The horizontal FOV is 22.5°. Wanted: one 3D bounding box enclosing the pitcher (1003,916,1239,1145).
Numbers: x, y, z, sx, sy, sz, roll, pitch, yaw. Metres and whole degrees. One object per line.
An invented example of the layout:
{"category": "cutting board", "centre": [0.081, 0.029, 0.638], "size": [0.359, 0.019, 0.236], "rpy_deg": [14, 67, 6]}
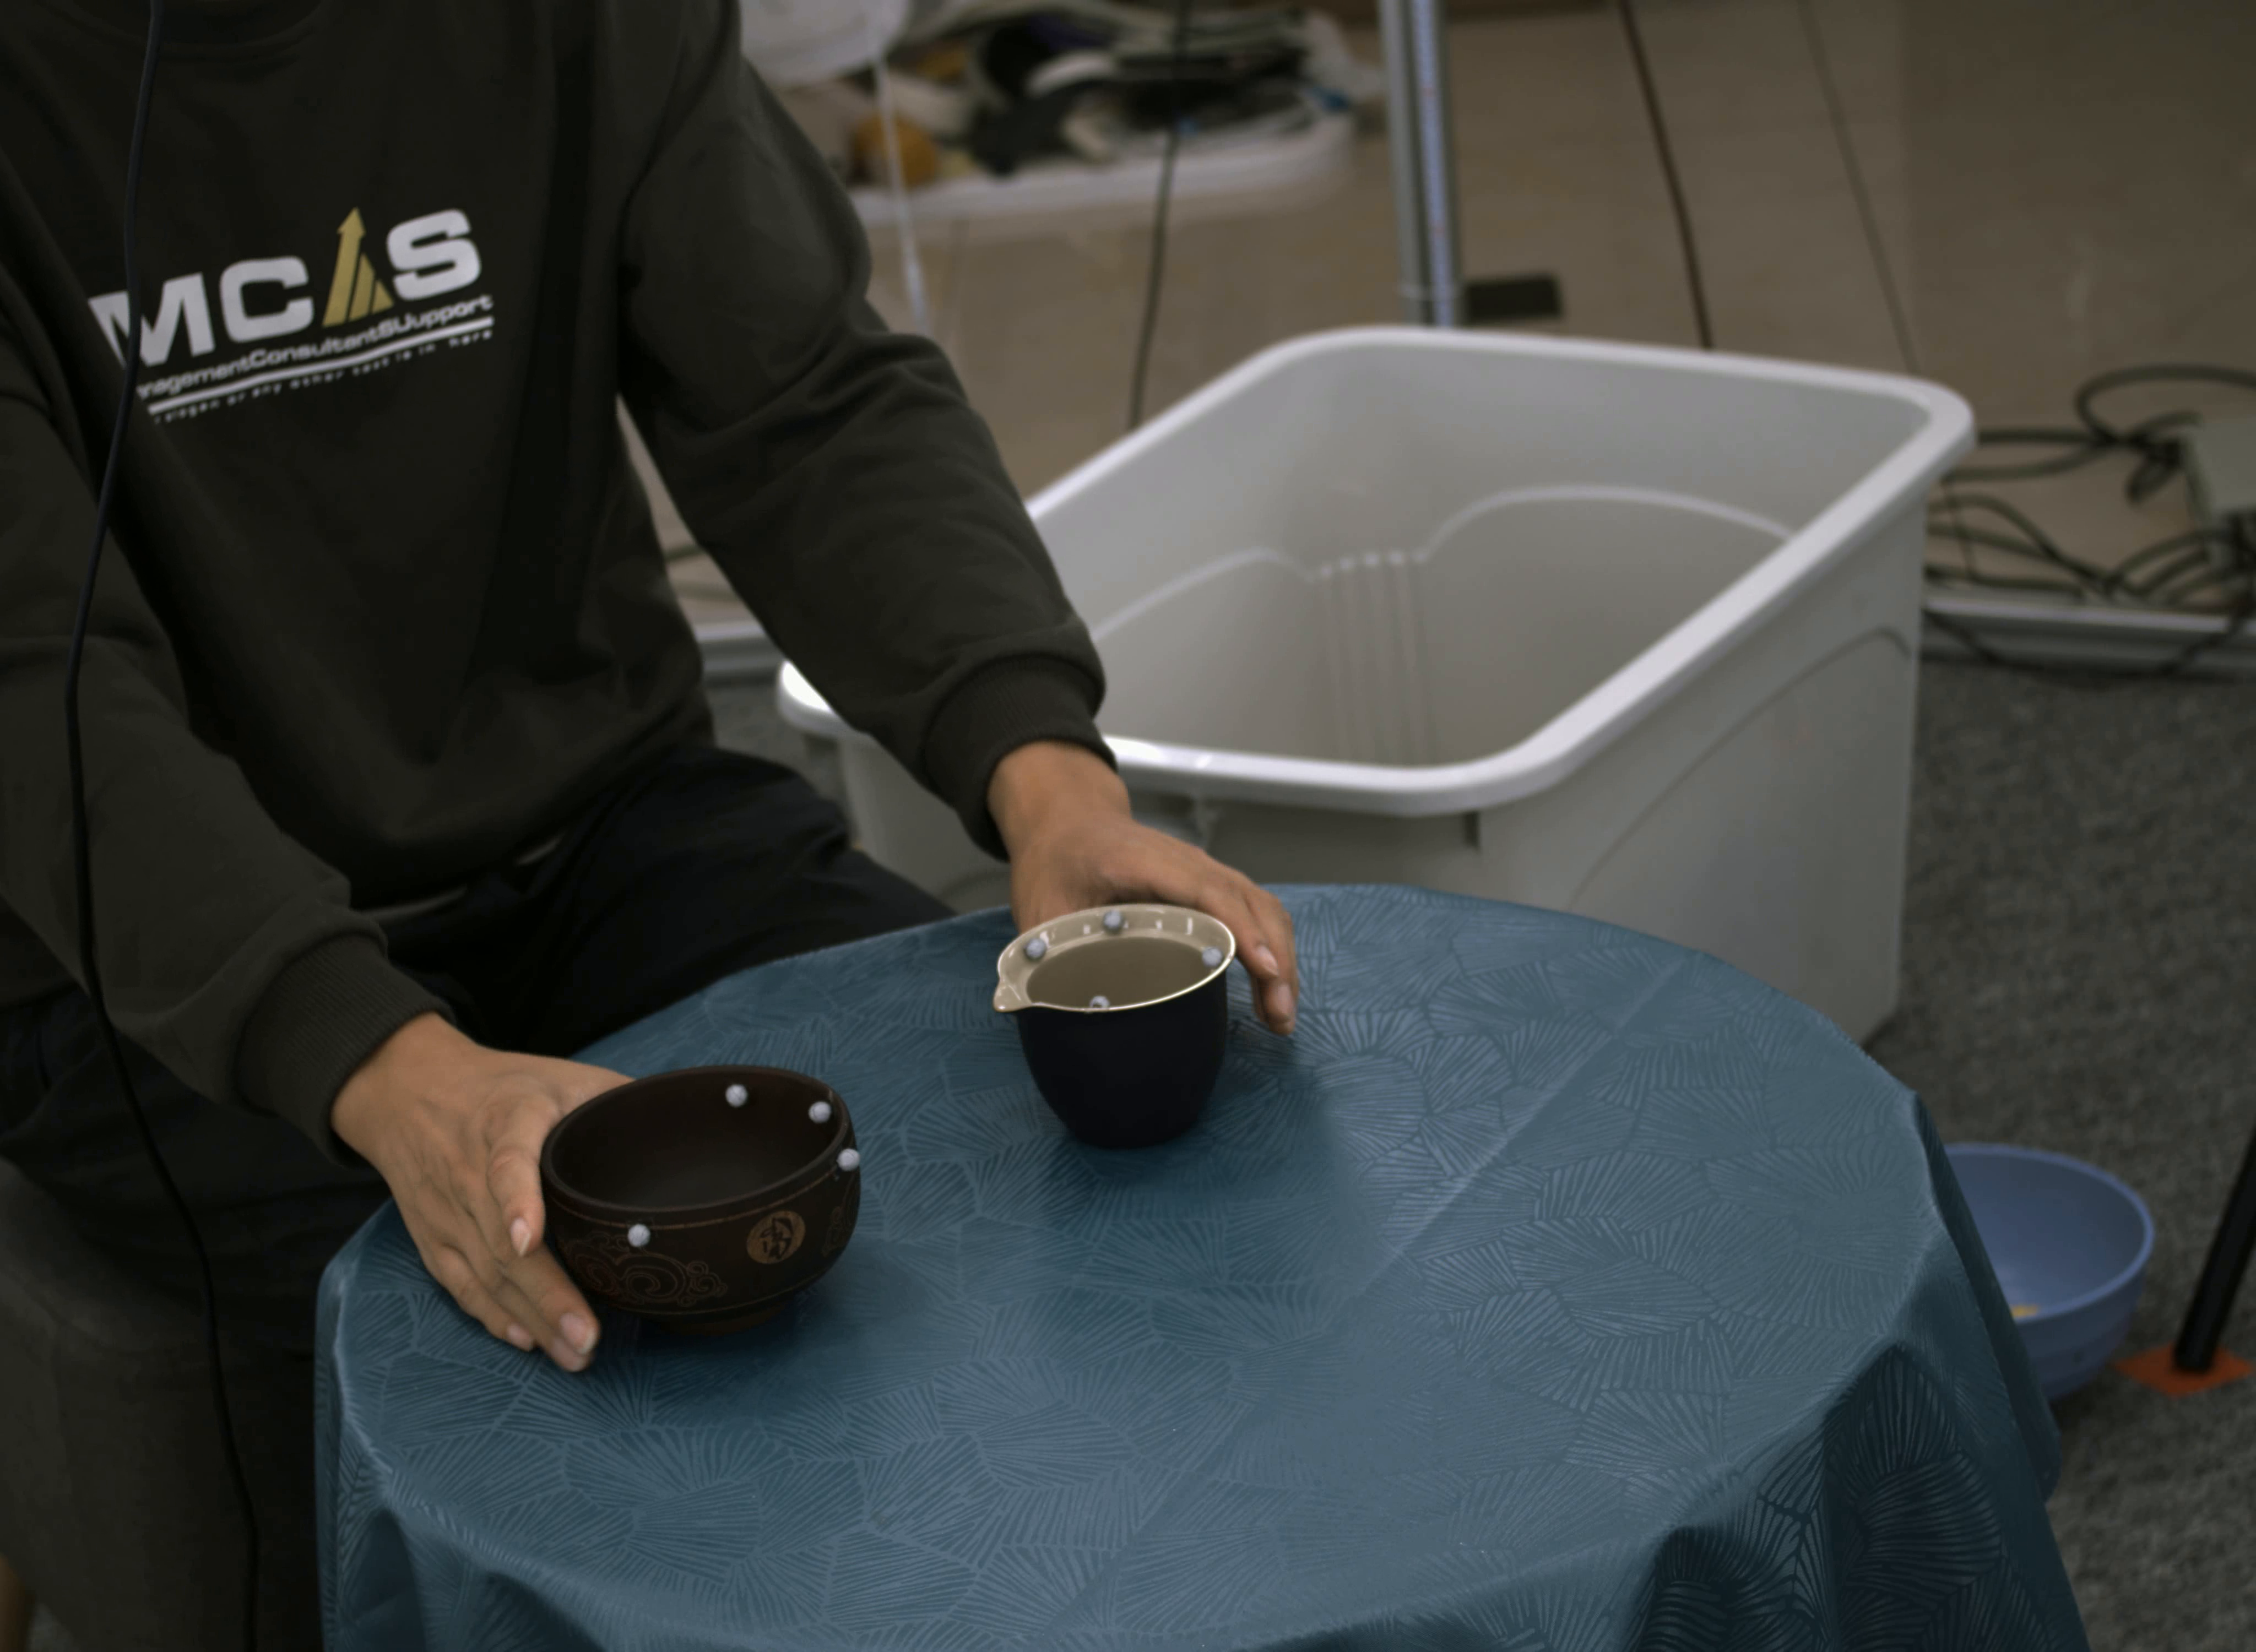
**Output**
{"category": "pitcher", "centre": [-0.002, 0.082, 2.184], "size": [0.095, 0.072, 0.082], "rpy_deg": [-19, 30, -21]}

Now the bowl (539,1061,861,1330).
{"category": "bowl", "centre": [-0.155, 0.142, 2.089], "size": [0.118, 0.071, 0.116], "rpy_deg": [-6, 24, 3]}
